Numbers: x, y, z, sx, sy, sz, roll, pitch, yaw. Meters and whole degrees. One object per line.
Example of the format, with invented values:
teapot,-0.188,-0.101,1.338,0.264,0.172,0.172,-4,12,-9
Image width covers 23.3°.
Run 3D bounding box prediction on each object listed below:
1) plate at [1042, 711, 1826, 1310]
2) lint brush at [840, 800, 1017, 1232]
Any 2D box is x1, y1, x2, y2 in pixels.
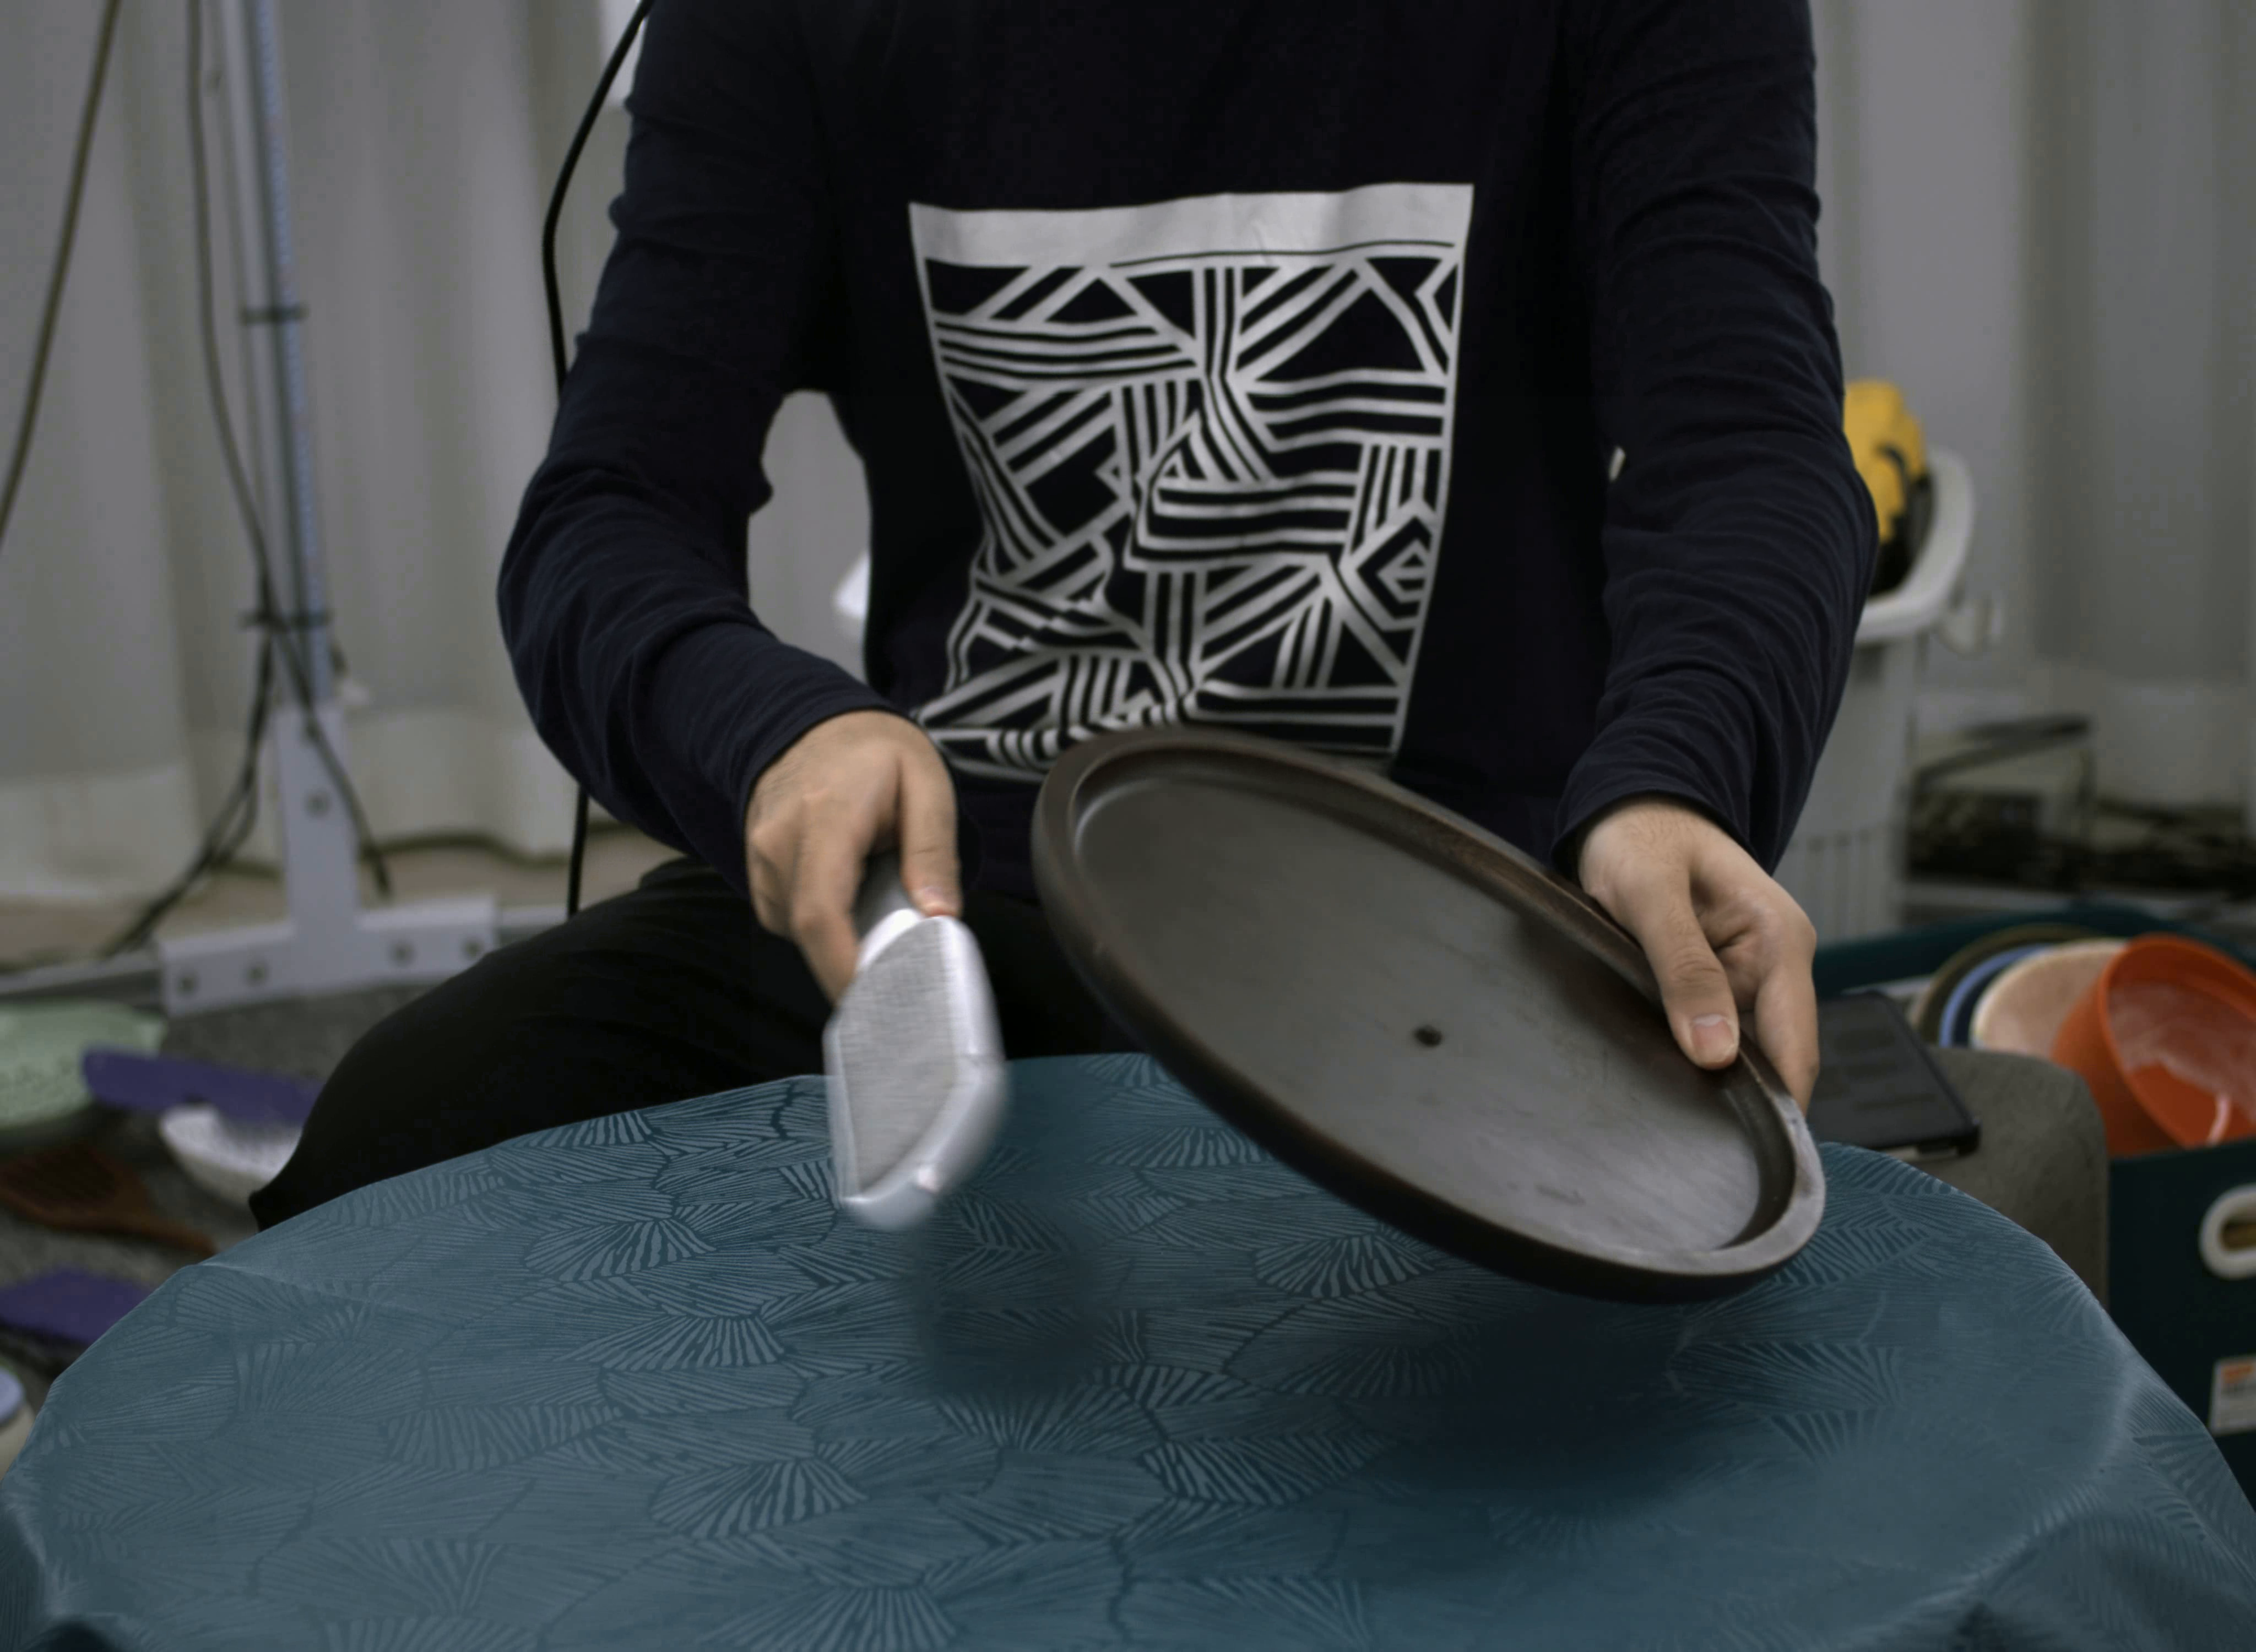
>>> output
plate,0.085,0.050,1.545,0.253,0.029,0.258,27,23,-13
lint brush,-0.067,0.050,1.705,0.021,0.060,0.312,36,11,-17
